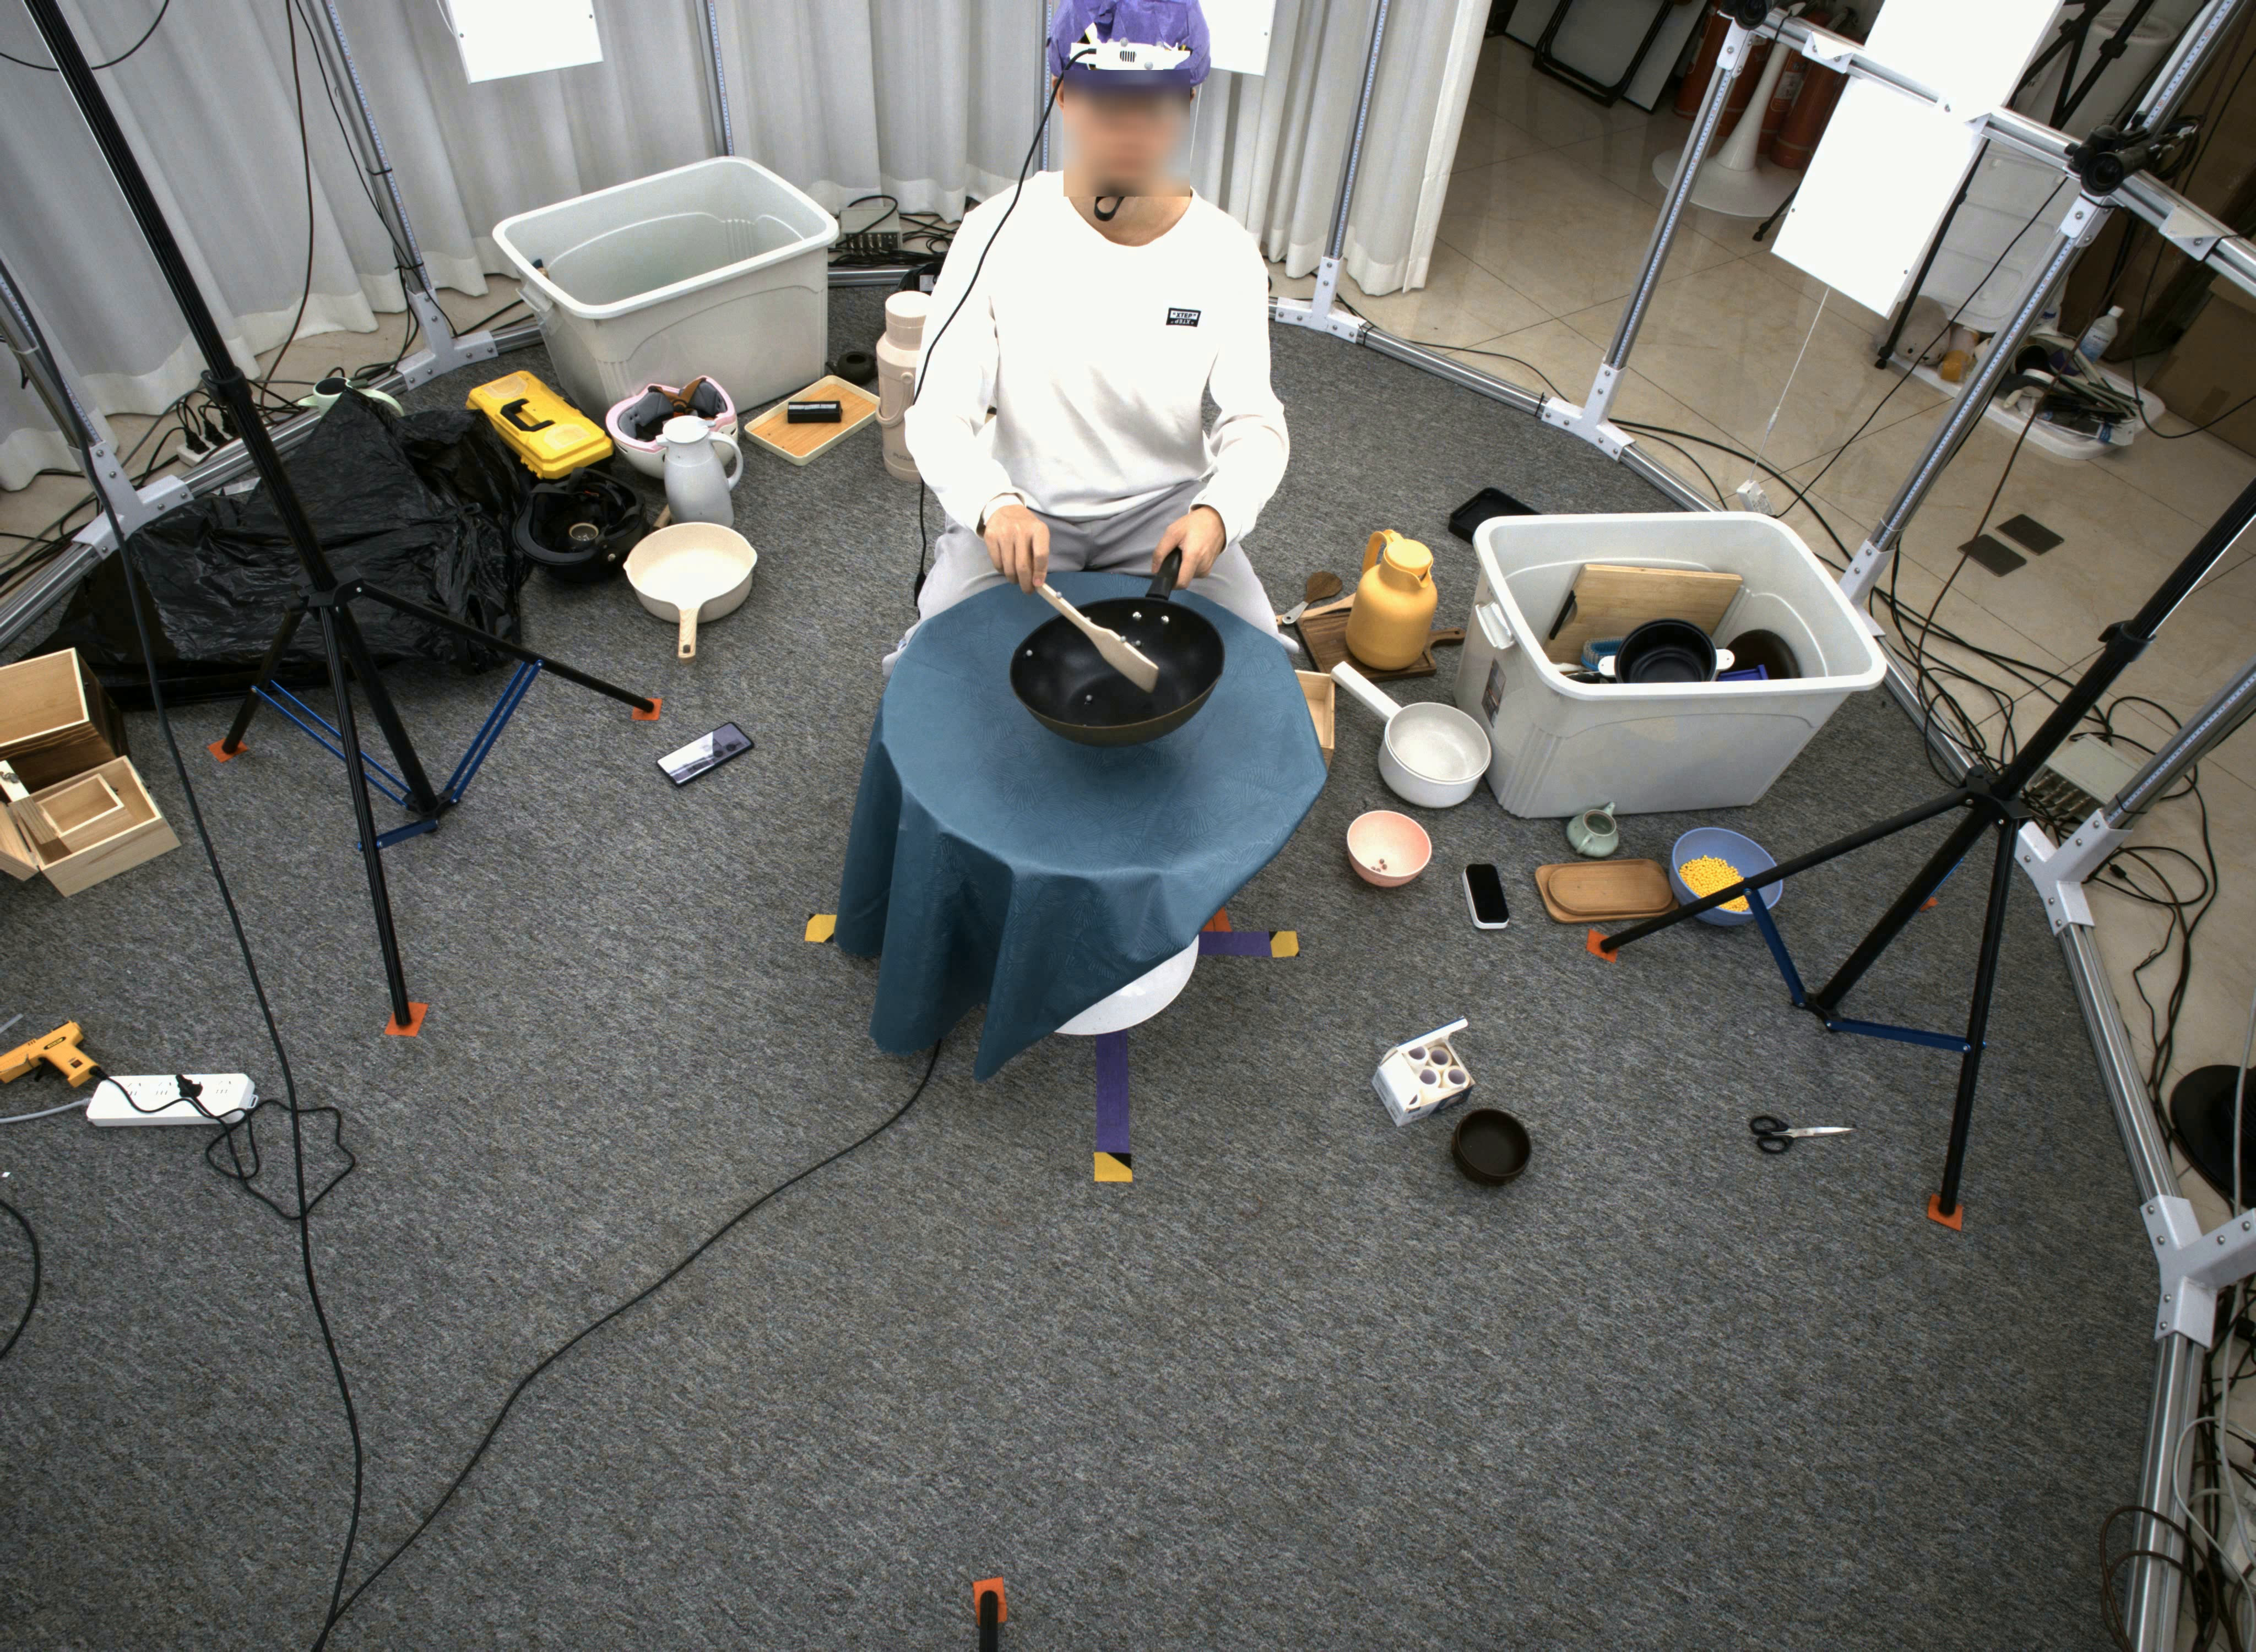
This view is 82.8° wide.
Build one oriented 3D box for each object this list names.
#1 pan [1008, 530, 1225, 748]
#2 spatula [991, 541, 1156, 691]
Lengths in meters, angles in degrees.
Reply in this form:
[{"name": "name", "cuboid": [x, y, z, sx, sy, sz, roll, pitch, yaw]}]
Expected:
[{"name": "pan", "cuboid": [0.021, -0.251, 1.747, 0.289, 0.085, 0.472, 9, 45, 20]}, {"name": "spatula", "cuboid": [-0.076, -0.286, 1.713, 0.295, 0.071, 0.011, 41, 70, 12]}]
